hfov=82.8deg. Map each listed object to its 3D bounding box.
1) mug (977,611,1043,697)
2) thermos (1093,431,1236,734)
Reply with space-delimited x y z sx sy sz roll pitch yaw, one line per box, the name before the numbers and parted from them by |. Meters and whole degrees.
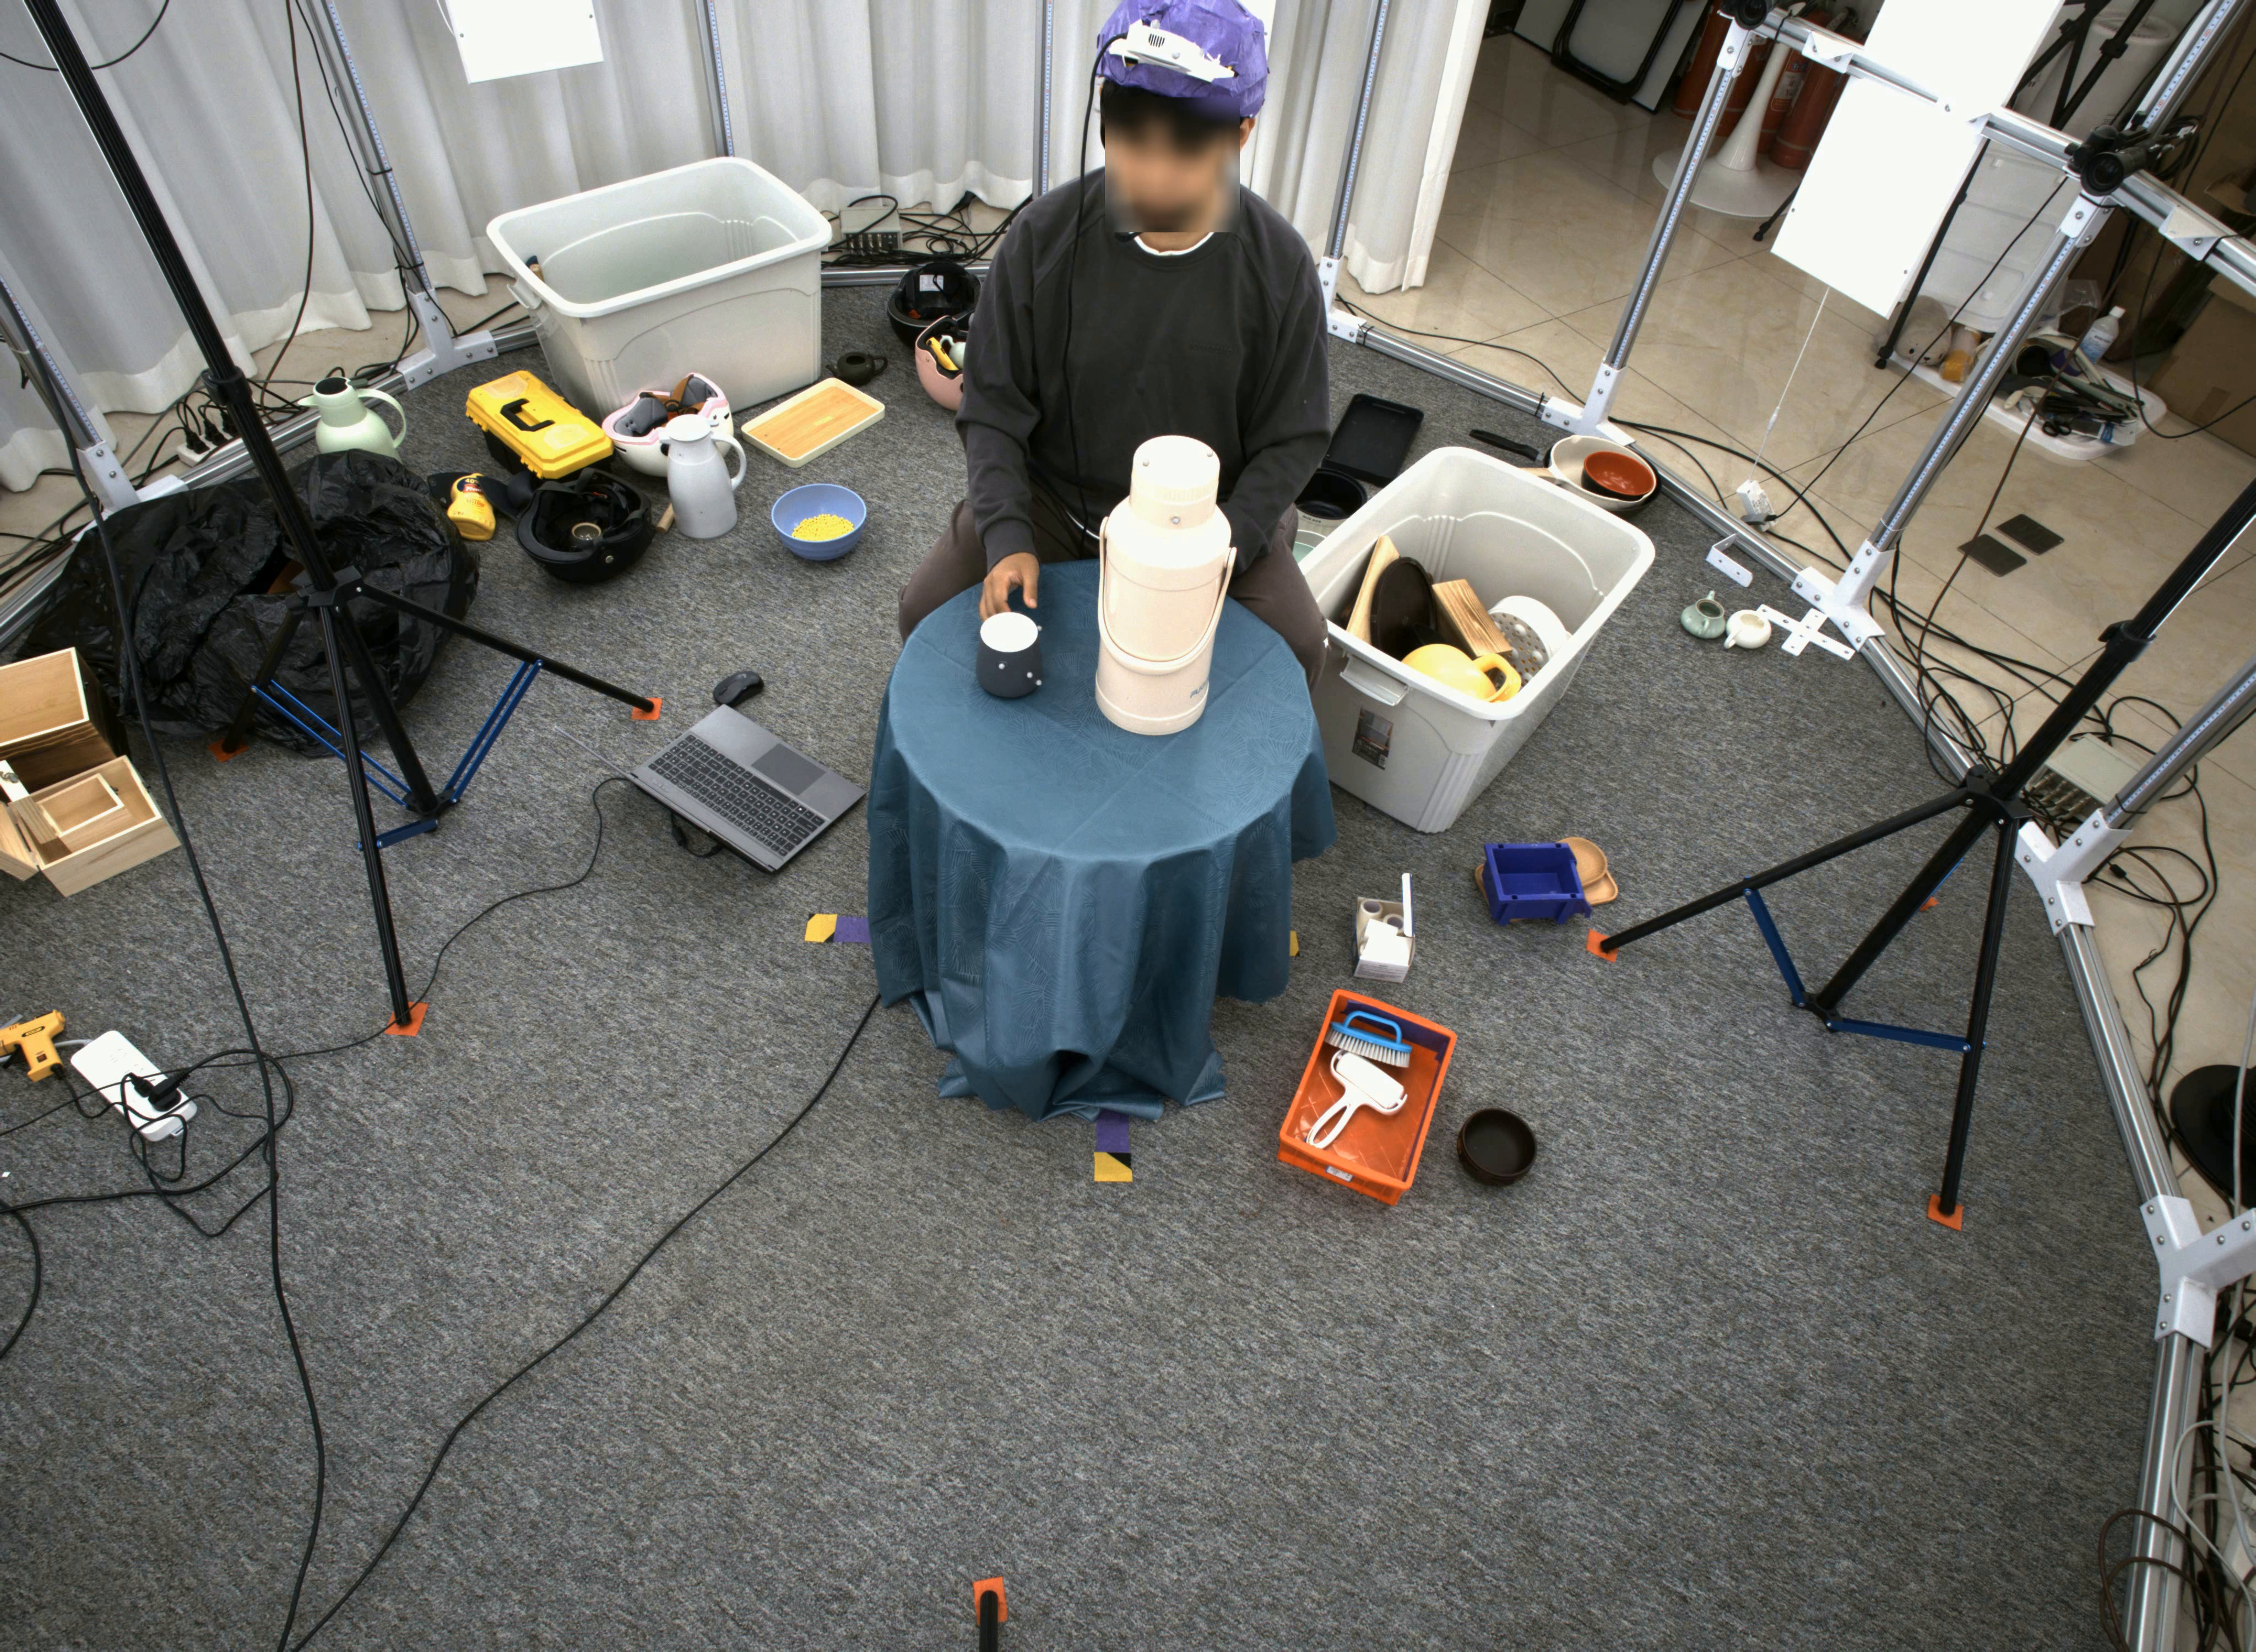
mug | -0.163 -0.251 1.811 0.093 0.088 0.126 9 49 3
thermos | 0.049 -0.323 1.694 0.176 0.396 0.211 15 50 8
